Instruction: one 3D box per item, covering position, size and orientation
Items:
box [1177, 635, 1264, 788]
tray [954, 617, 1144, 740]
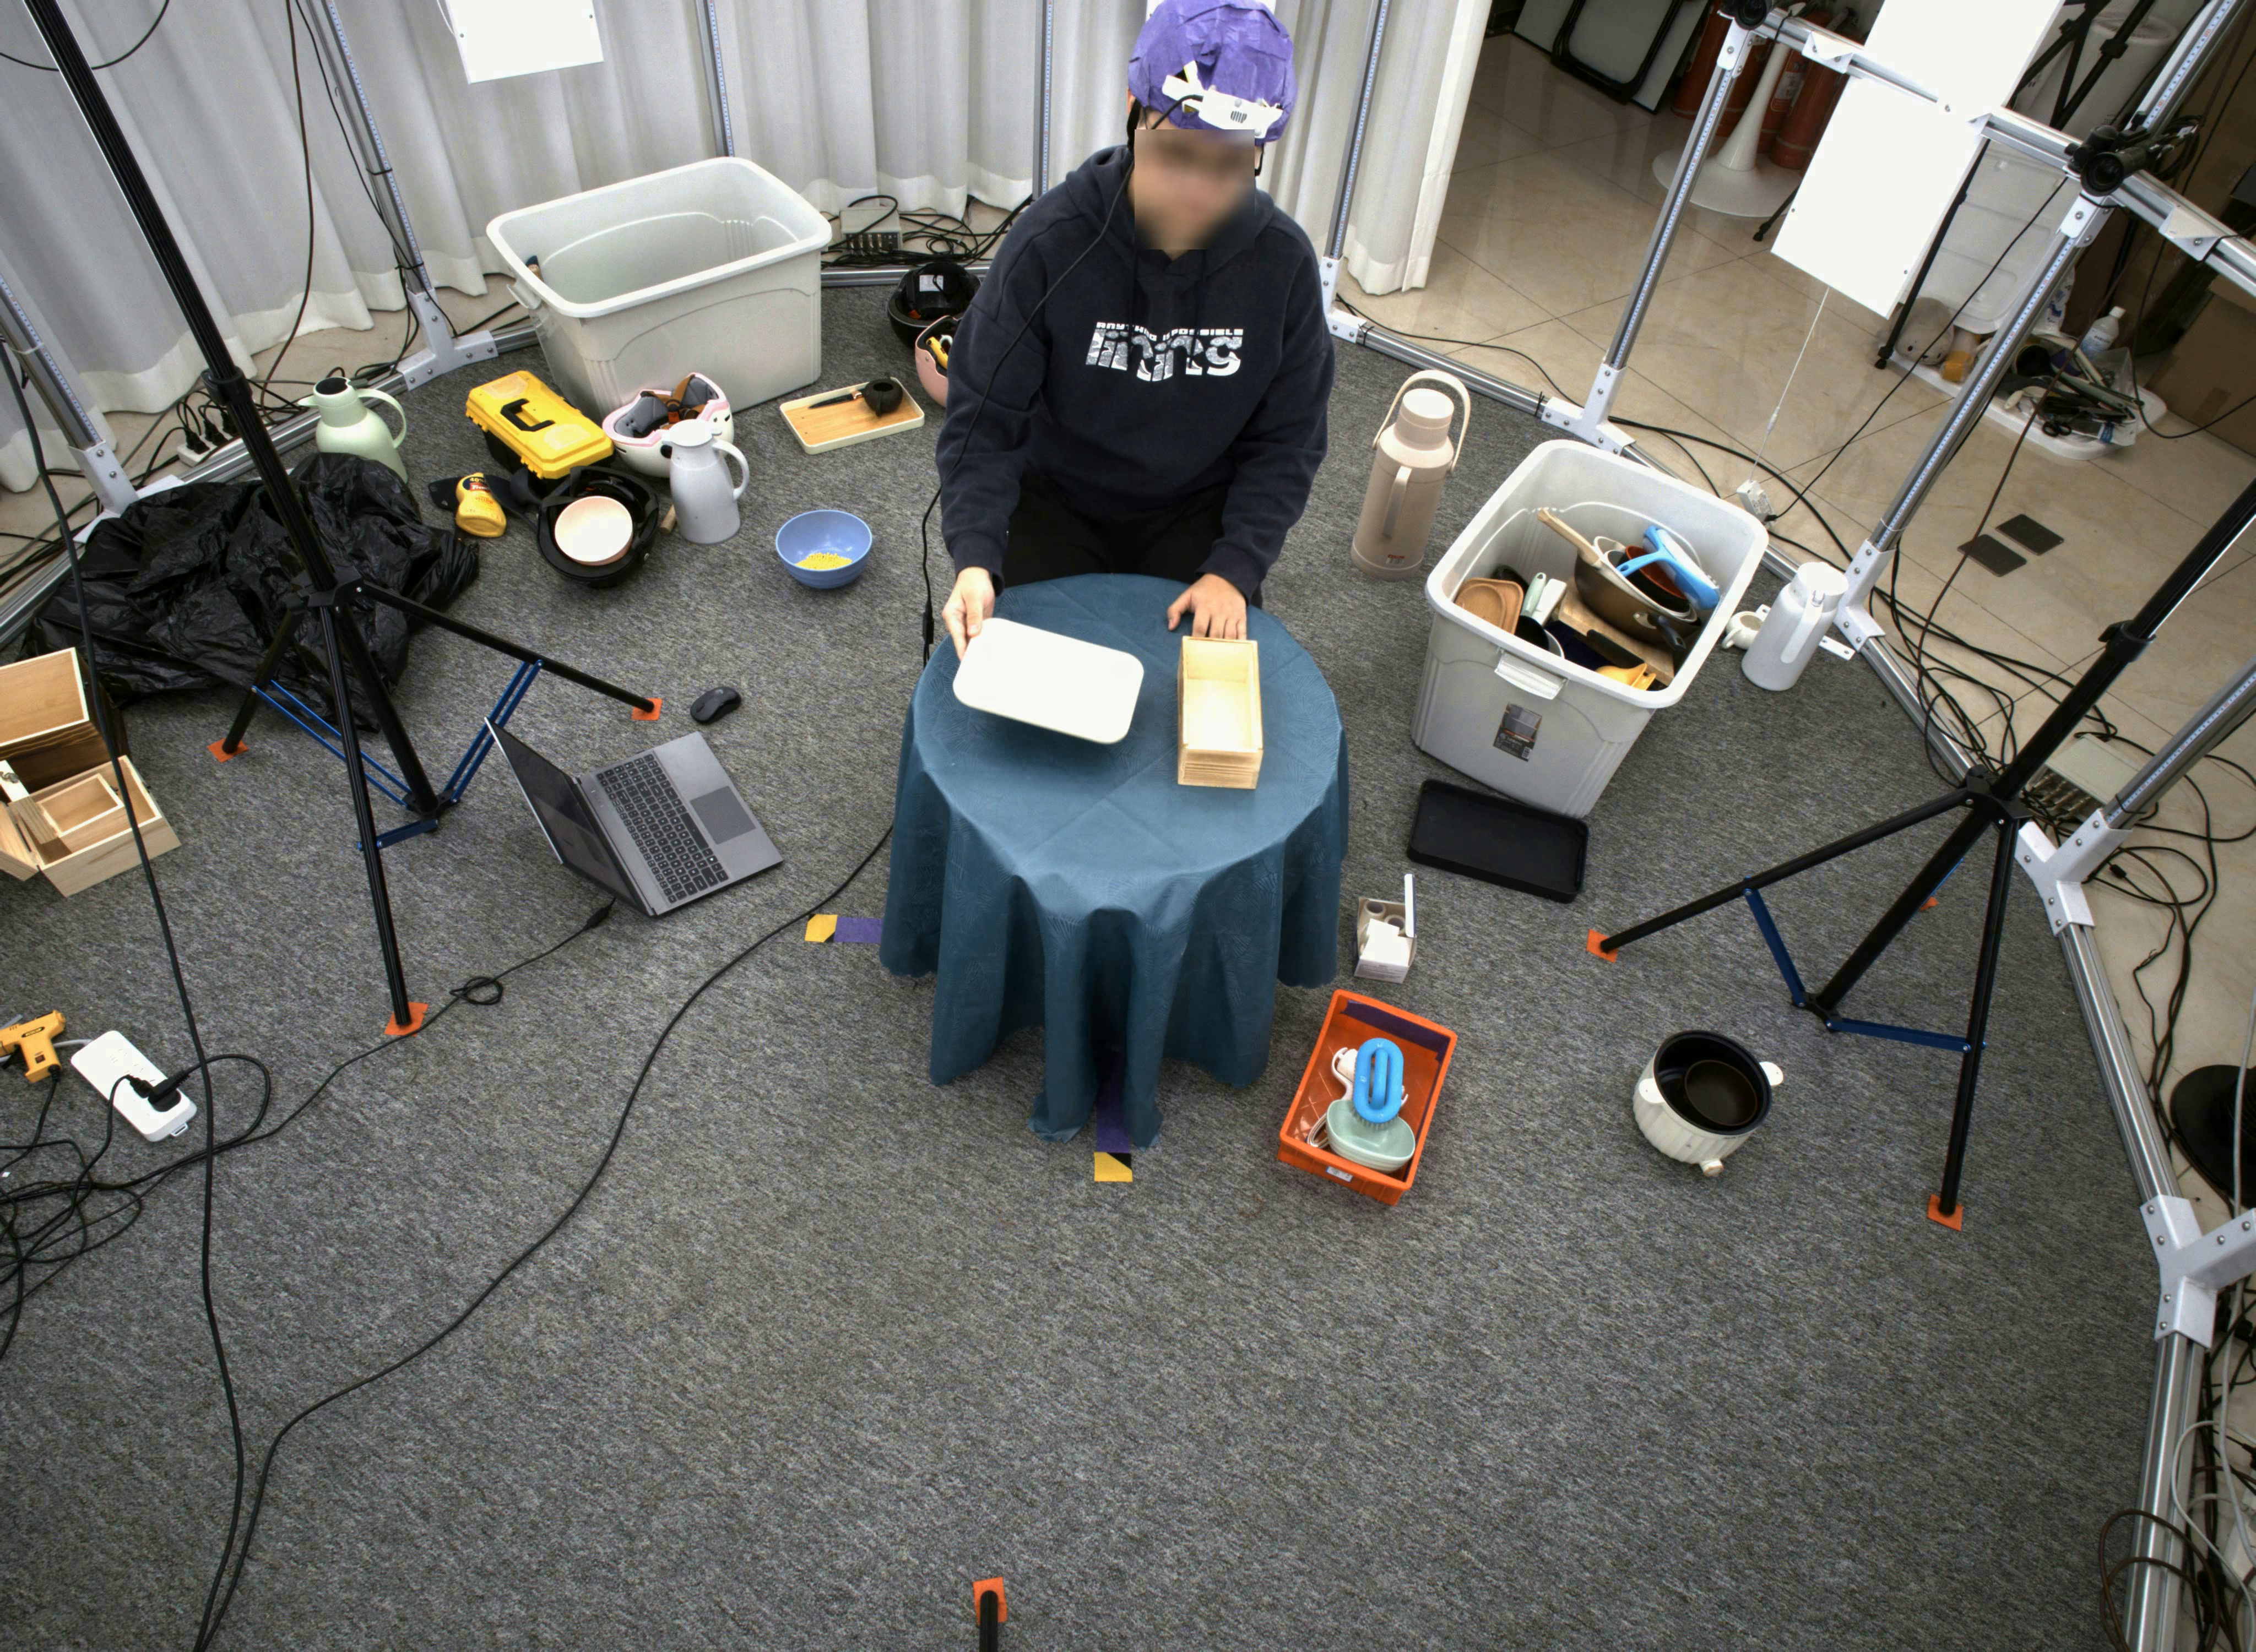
[{"bbox_3d":[0.125,-0.160,1.762,0.107,0.078,0.217,3,49,-2],"label":"box"},{"bbox_3d":[-0.104,-0.198,1.729,0.239,0.017,0.175,15,48,0],"label":"tray"}]
